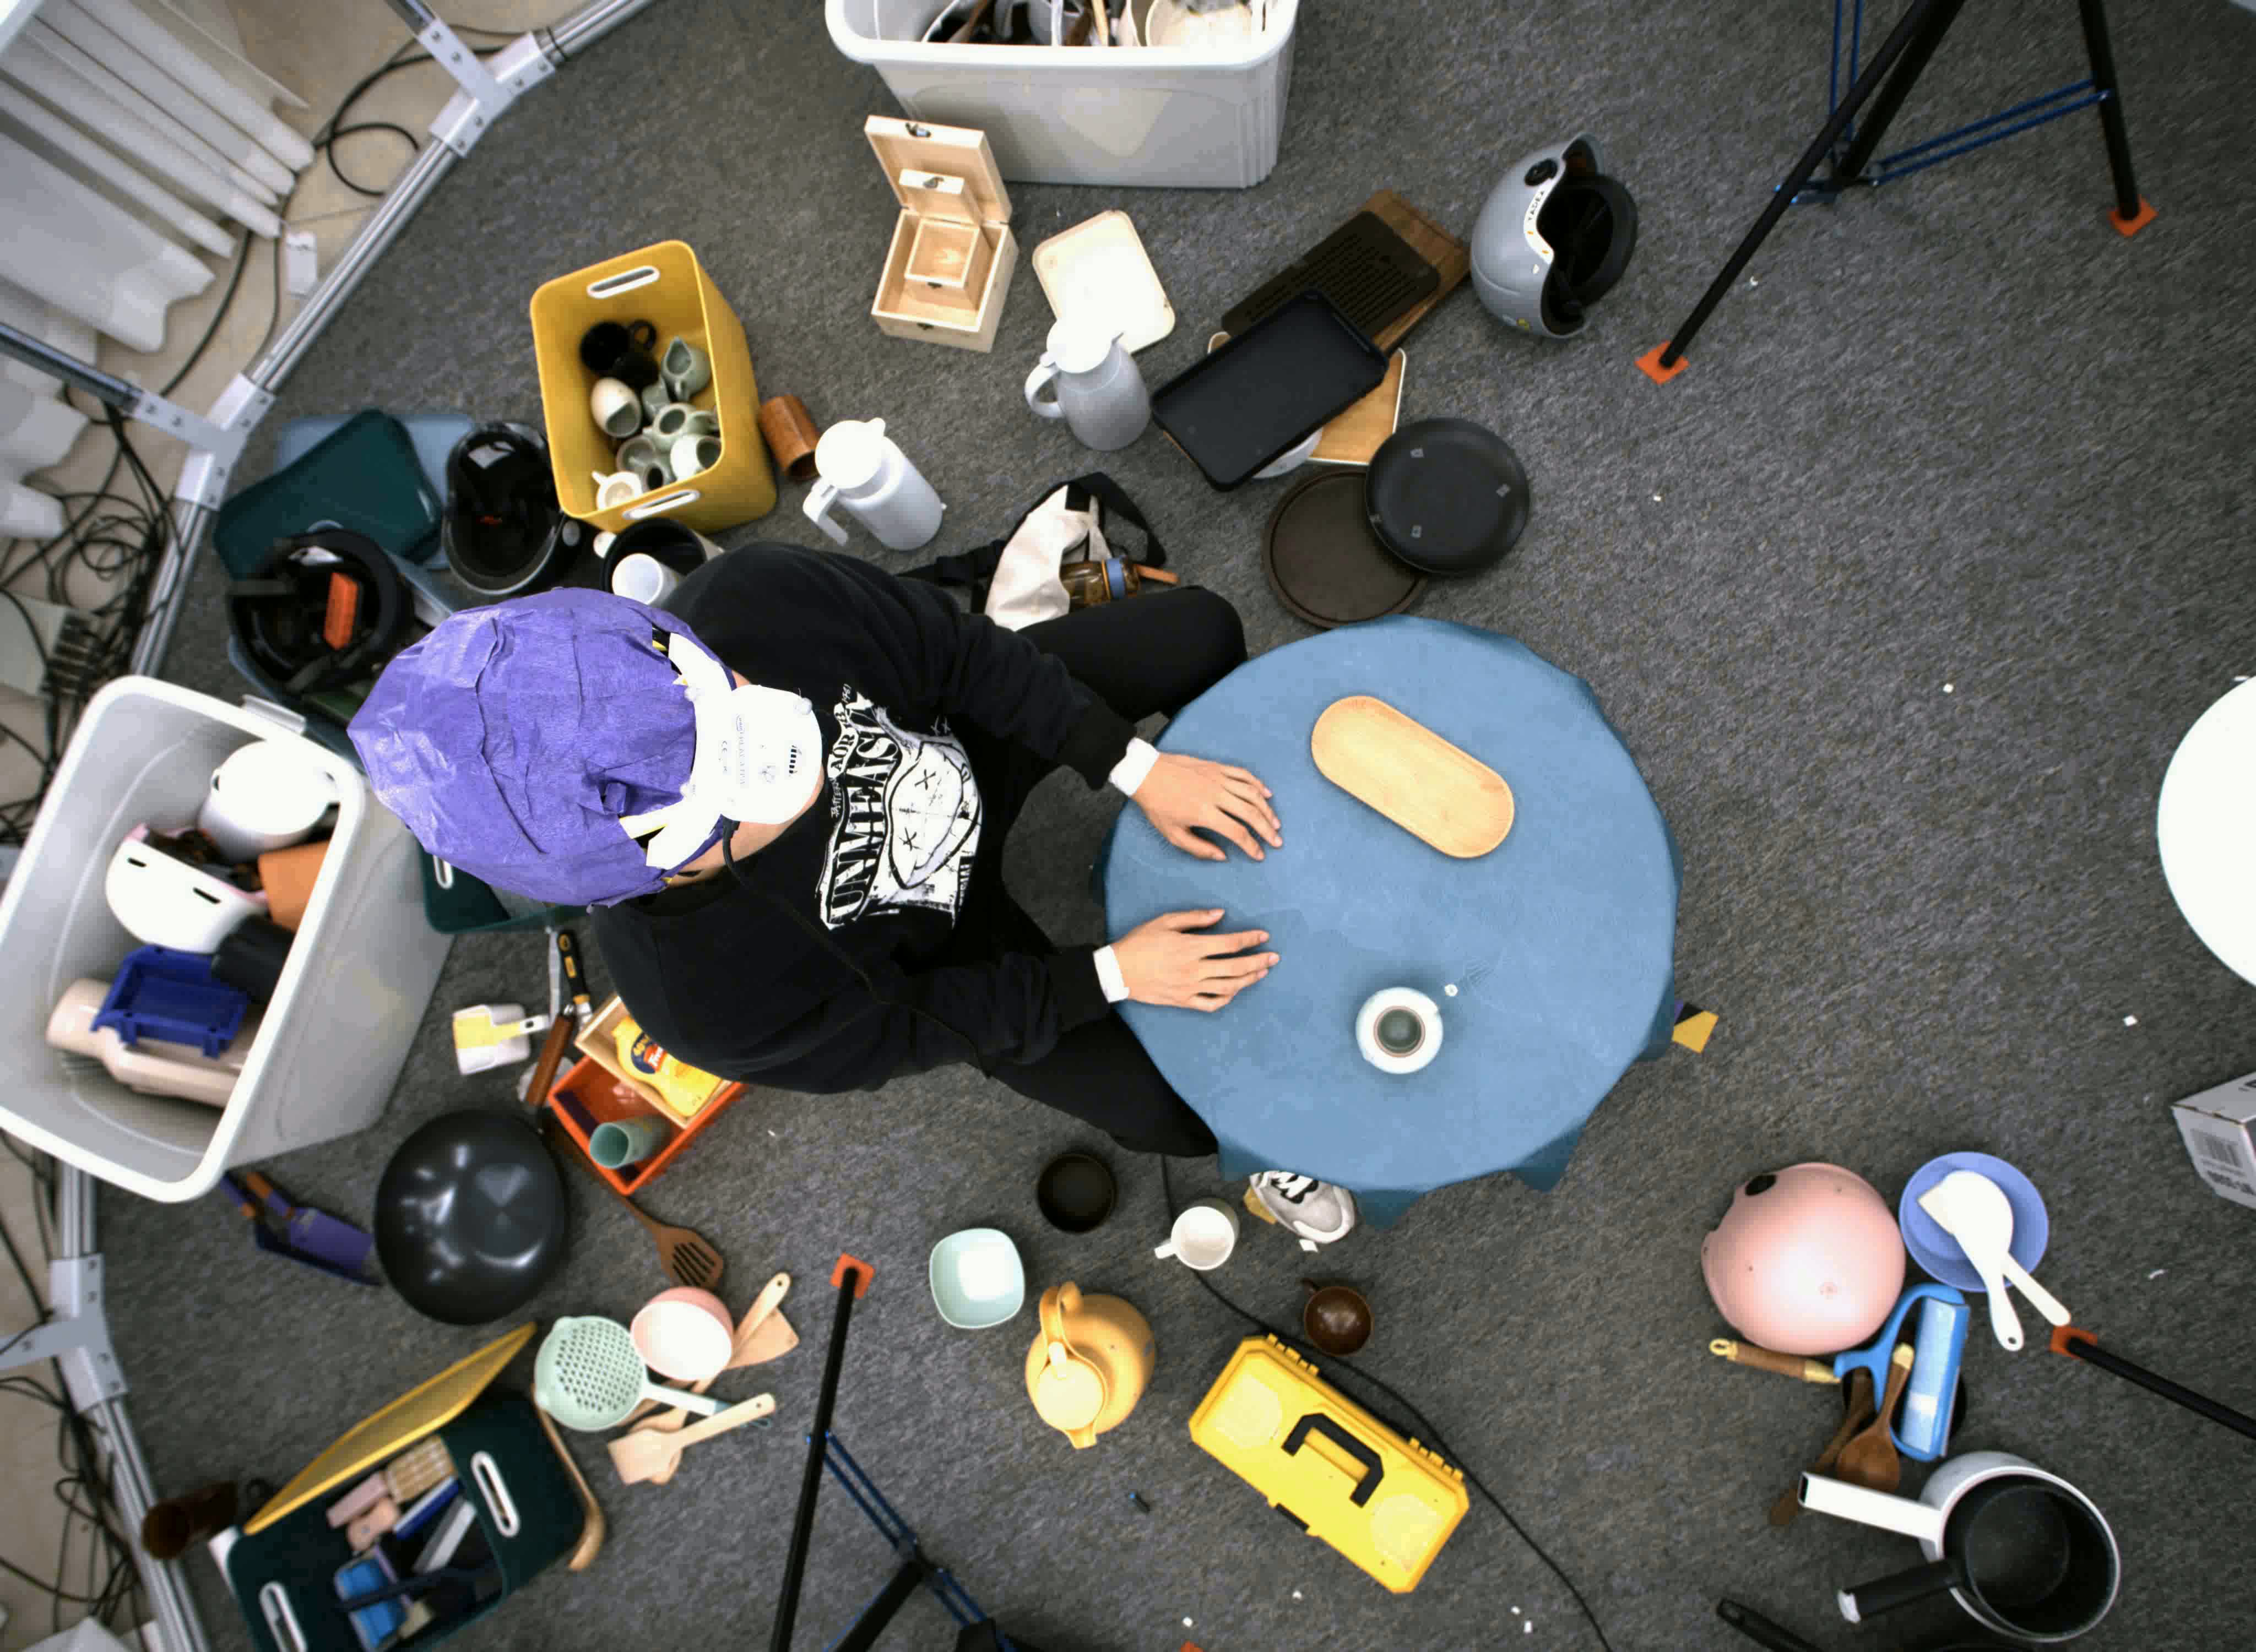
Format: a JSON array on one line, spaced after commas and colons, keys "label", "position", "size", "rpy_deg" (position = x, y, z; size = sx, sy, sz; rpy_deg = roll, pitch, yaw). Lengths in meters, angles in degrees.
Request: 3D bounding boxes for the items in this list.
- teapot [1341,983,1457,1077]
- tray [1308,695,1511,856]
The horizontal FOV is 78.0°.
[{"label": "teapot", "position": [0.277, 0.206, 1.417], "size": [0.144, 0.075, 0.088], "rpy_deg": [-37, 79, 5]}, {"label": "tray", "position": [0.296, -0.055, 1.454], "size": [0.230, 0.020, 0.102], "rpy_deg": [33, 92, 12]}]
